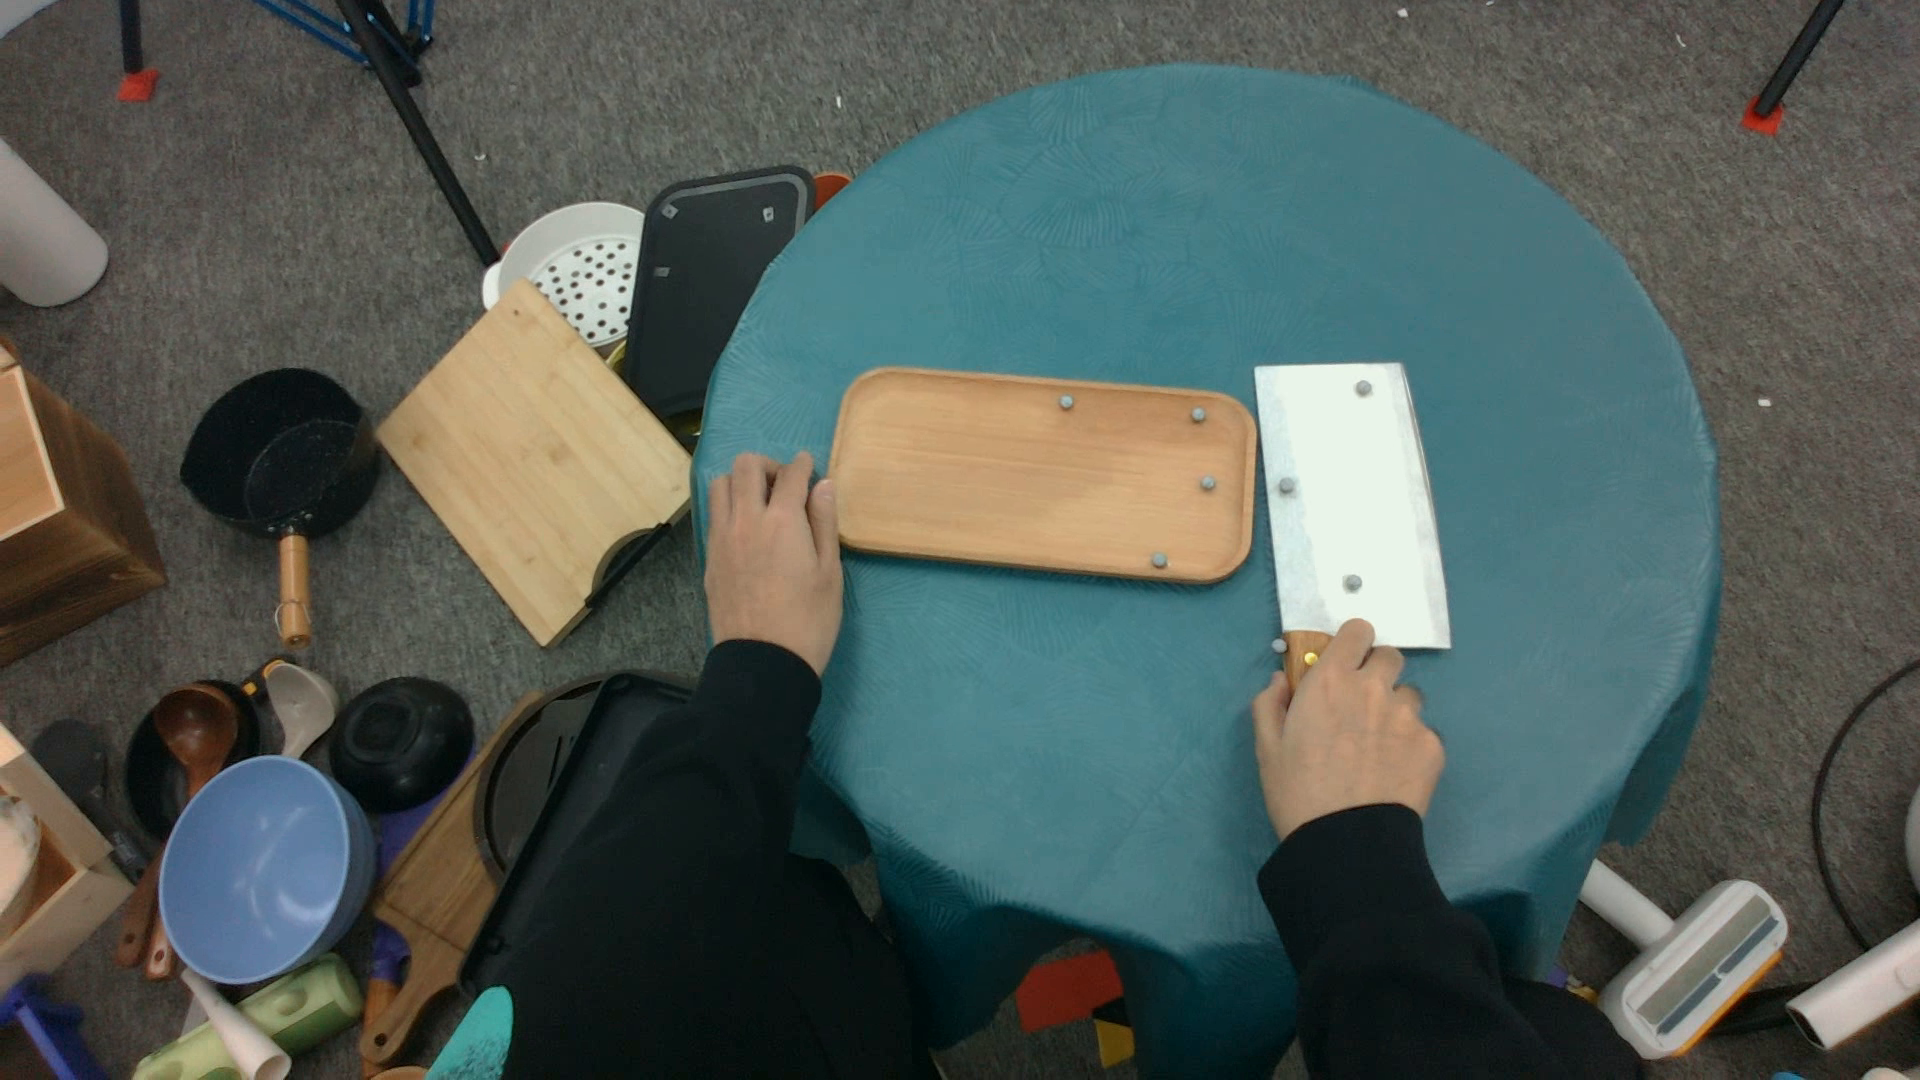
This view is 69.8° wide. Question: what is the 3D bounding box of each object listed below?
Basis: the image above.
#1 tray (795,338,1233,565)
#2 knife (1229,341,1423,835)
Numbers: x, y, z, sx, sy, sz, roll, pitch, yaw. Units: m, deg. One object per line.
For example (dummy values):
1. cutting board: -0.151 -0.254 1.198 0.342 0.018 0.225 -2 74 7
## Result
1. tray: 0.032 -0.053 0.813 0.250 0.023 0.131 6 63 7
2. knife: 0.208 0.014 0.770 0.093 0.021 0.307 0 62 1
